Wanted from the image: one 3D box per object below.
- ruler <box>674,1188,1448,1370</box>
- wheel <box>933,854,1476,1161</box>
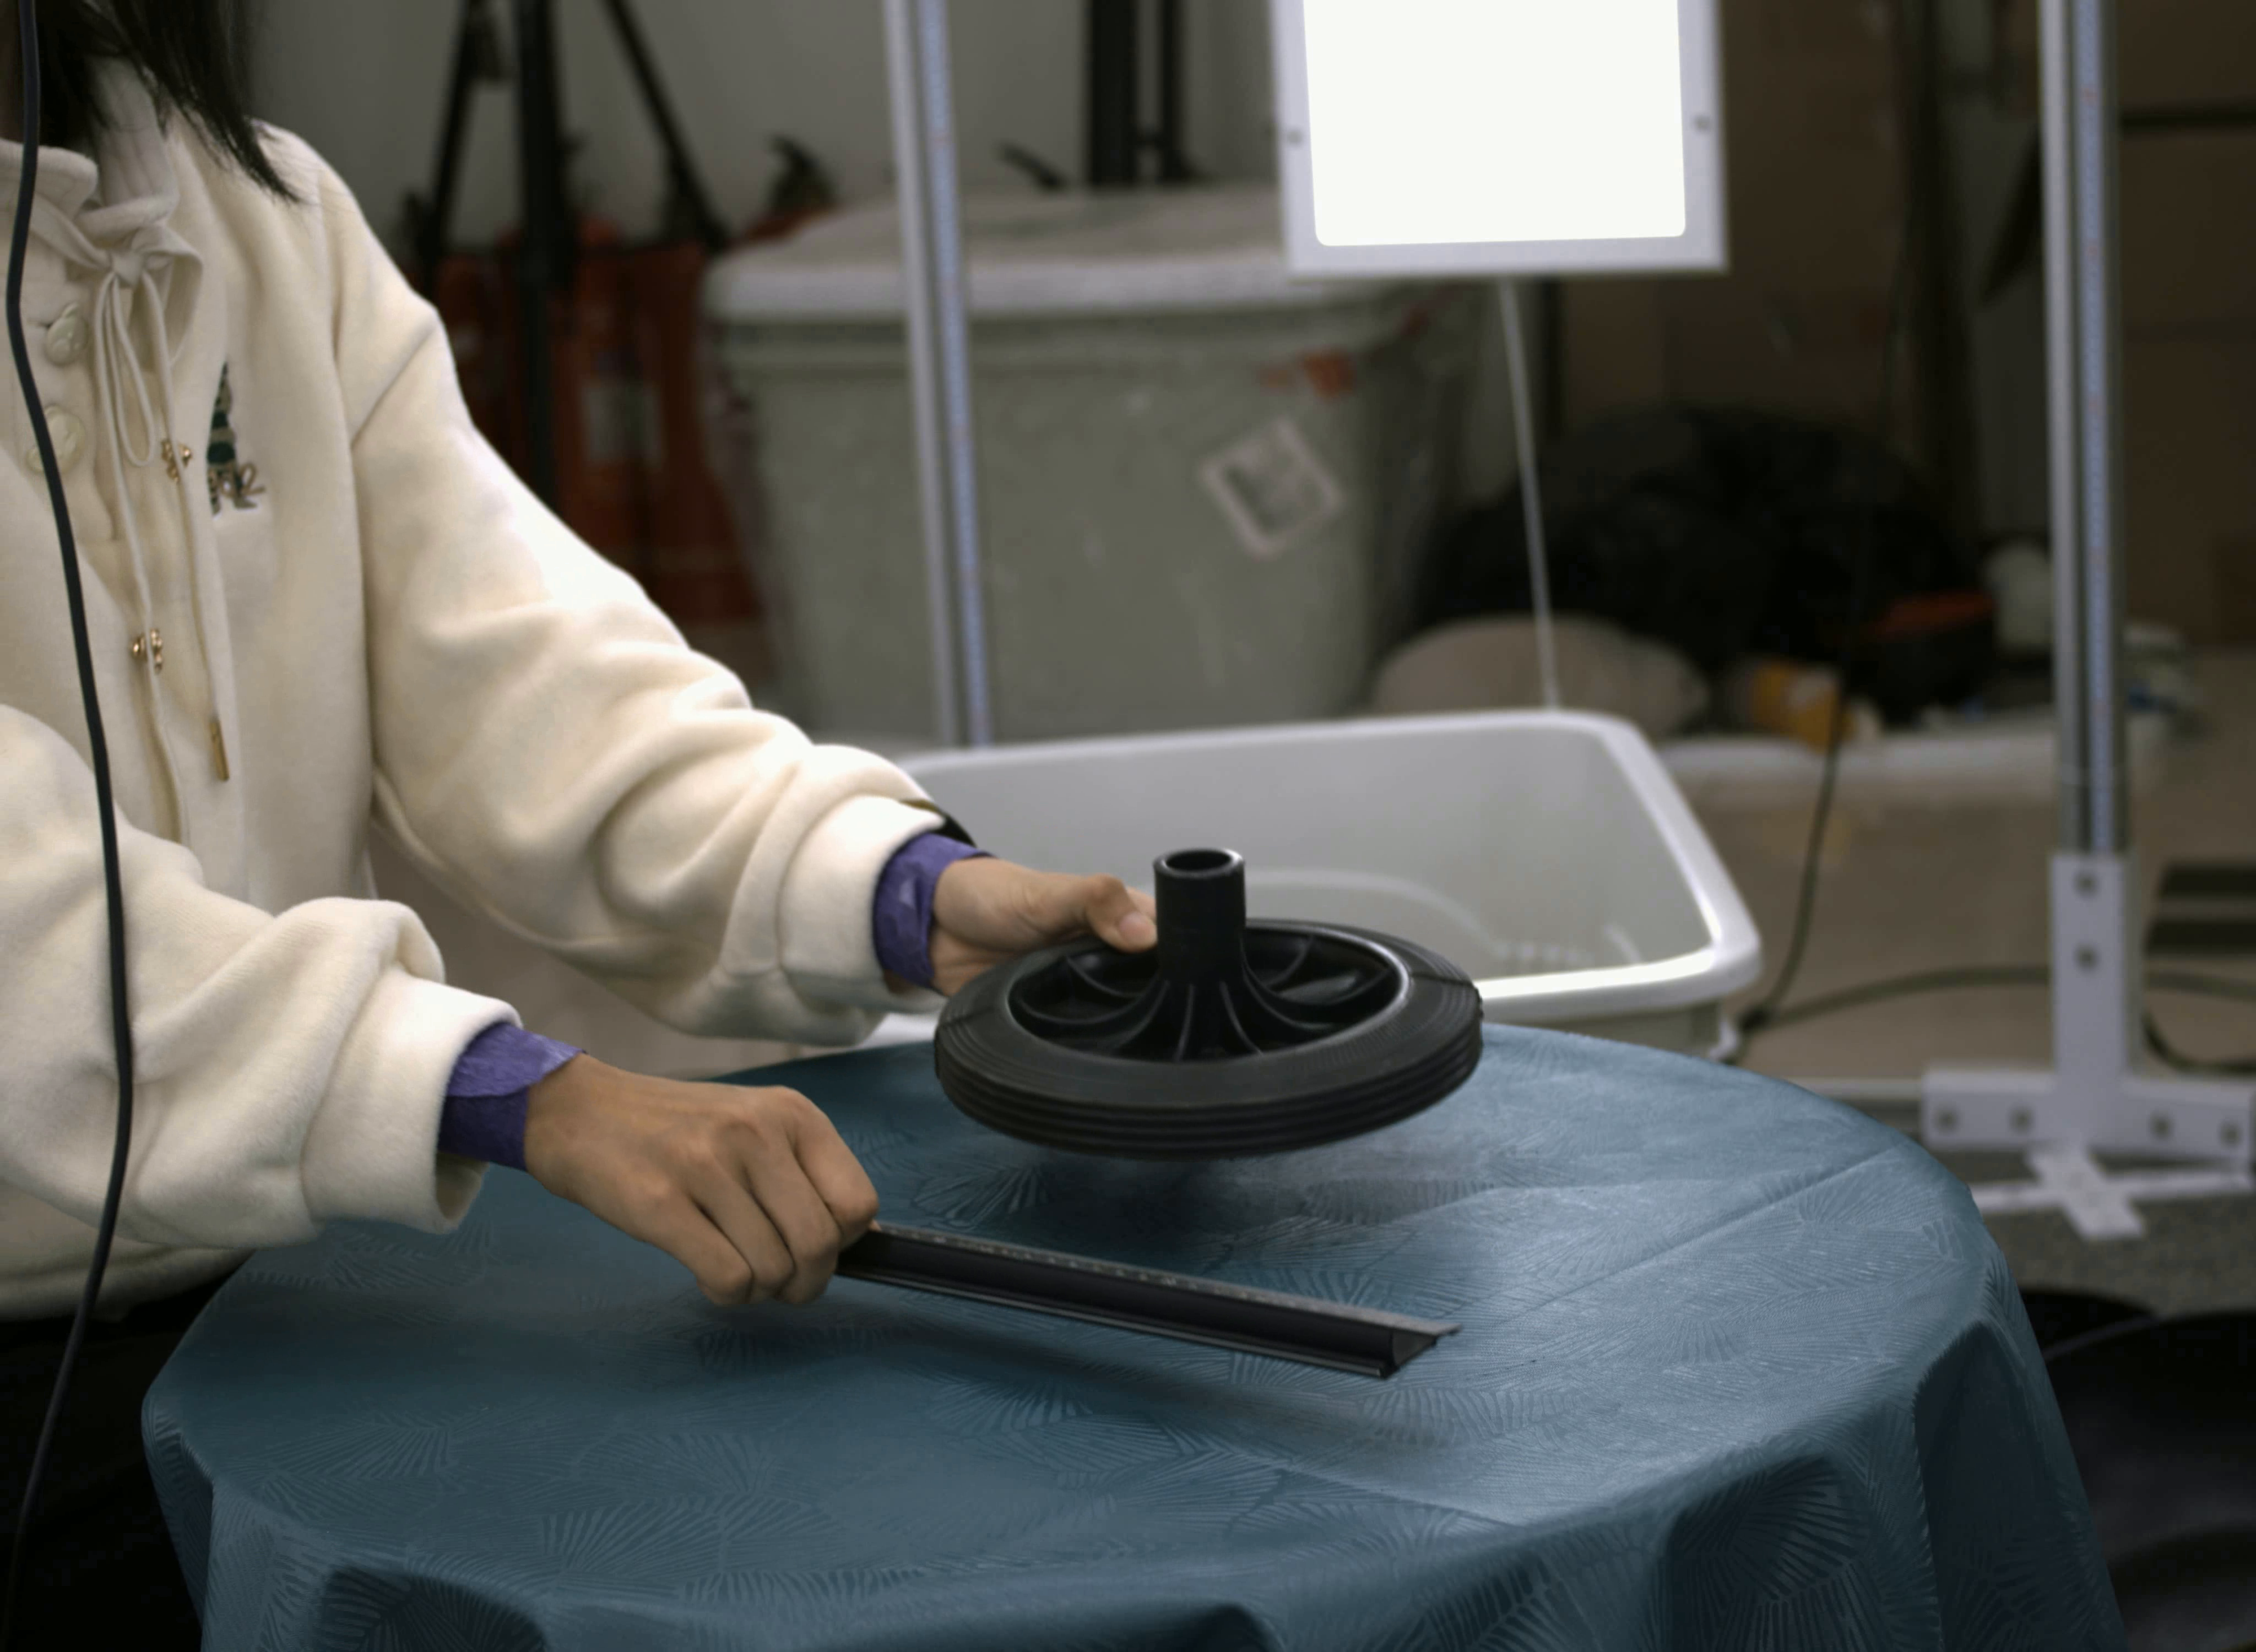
[{"bbox_3d":[-0.028,0.135,1.728,0.319,0.017,0.038,6,21,45],"label":"ruler"},{"bbox_3d":[0.026,0.051,1.879,0.191,0.079,0.185,8,21,33],"label":"wheel"}]
